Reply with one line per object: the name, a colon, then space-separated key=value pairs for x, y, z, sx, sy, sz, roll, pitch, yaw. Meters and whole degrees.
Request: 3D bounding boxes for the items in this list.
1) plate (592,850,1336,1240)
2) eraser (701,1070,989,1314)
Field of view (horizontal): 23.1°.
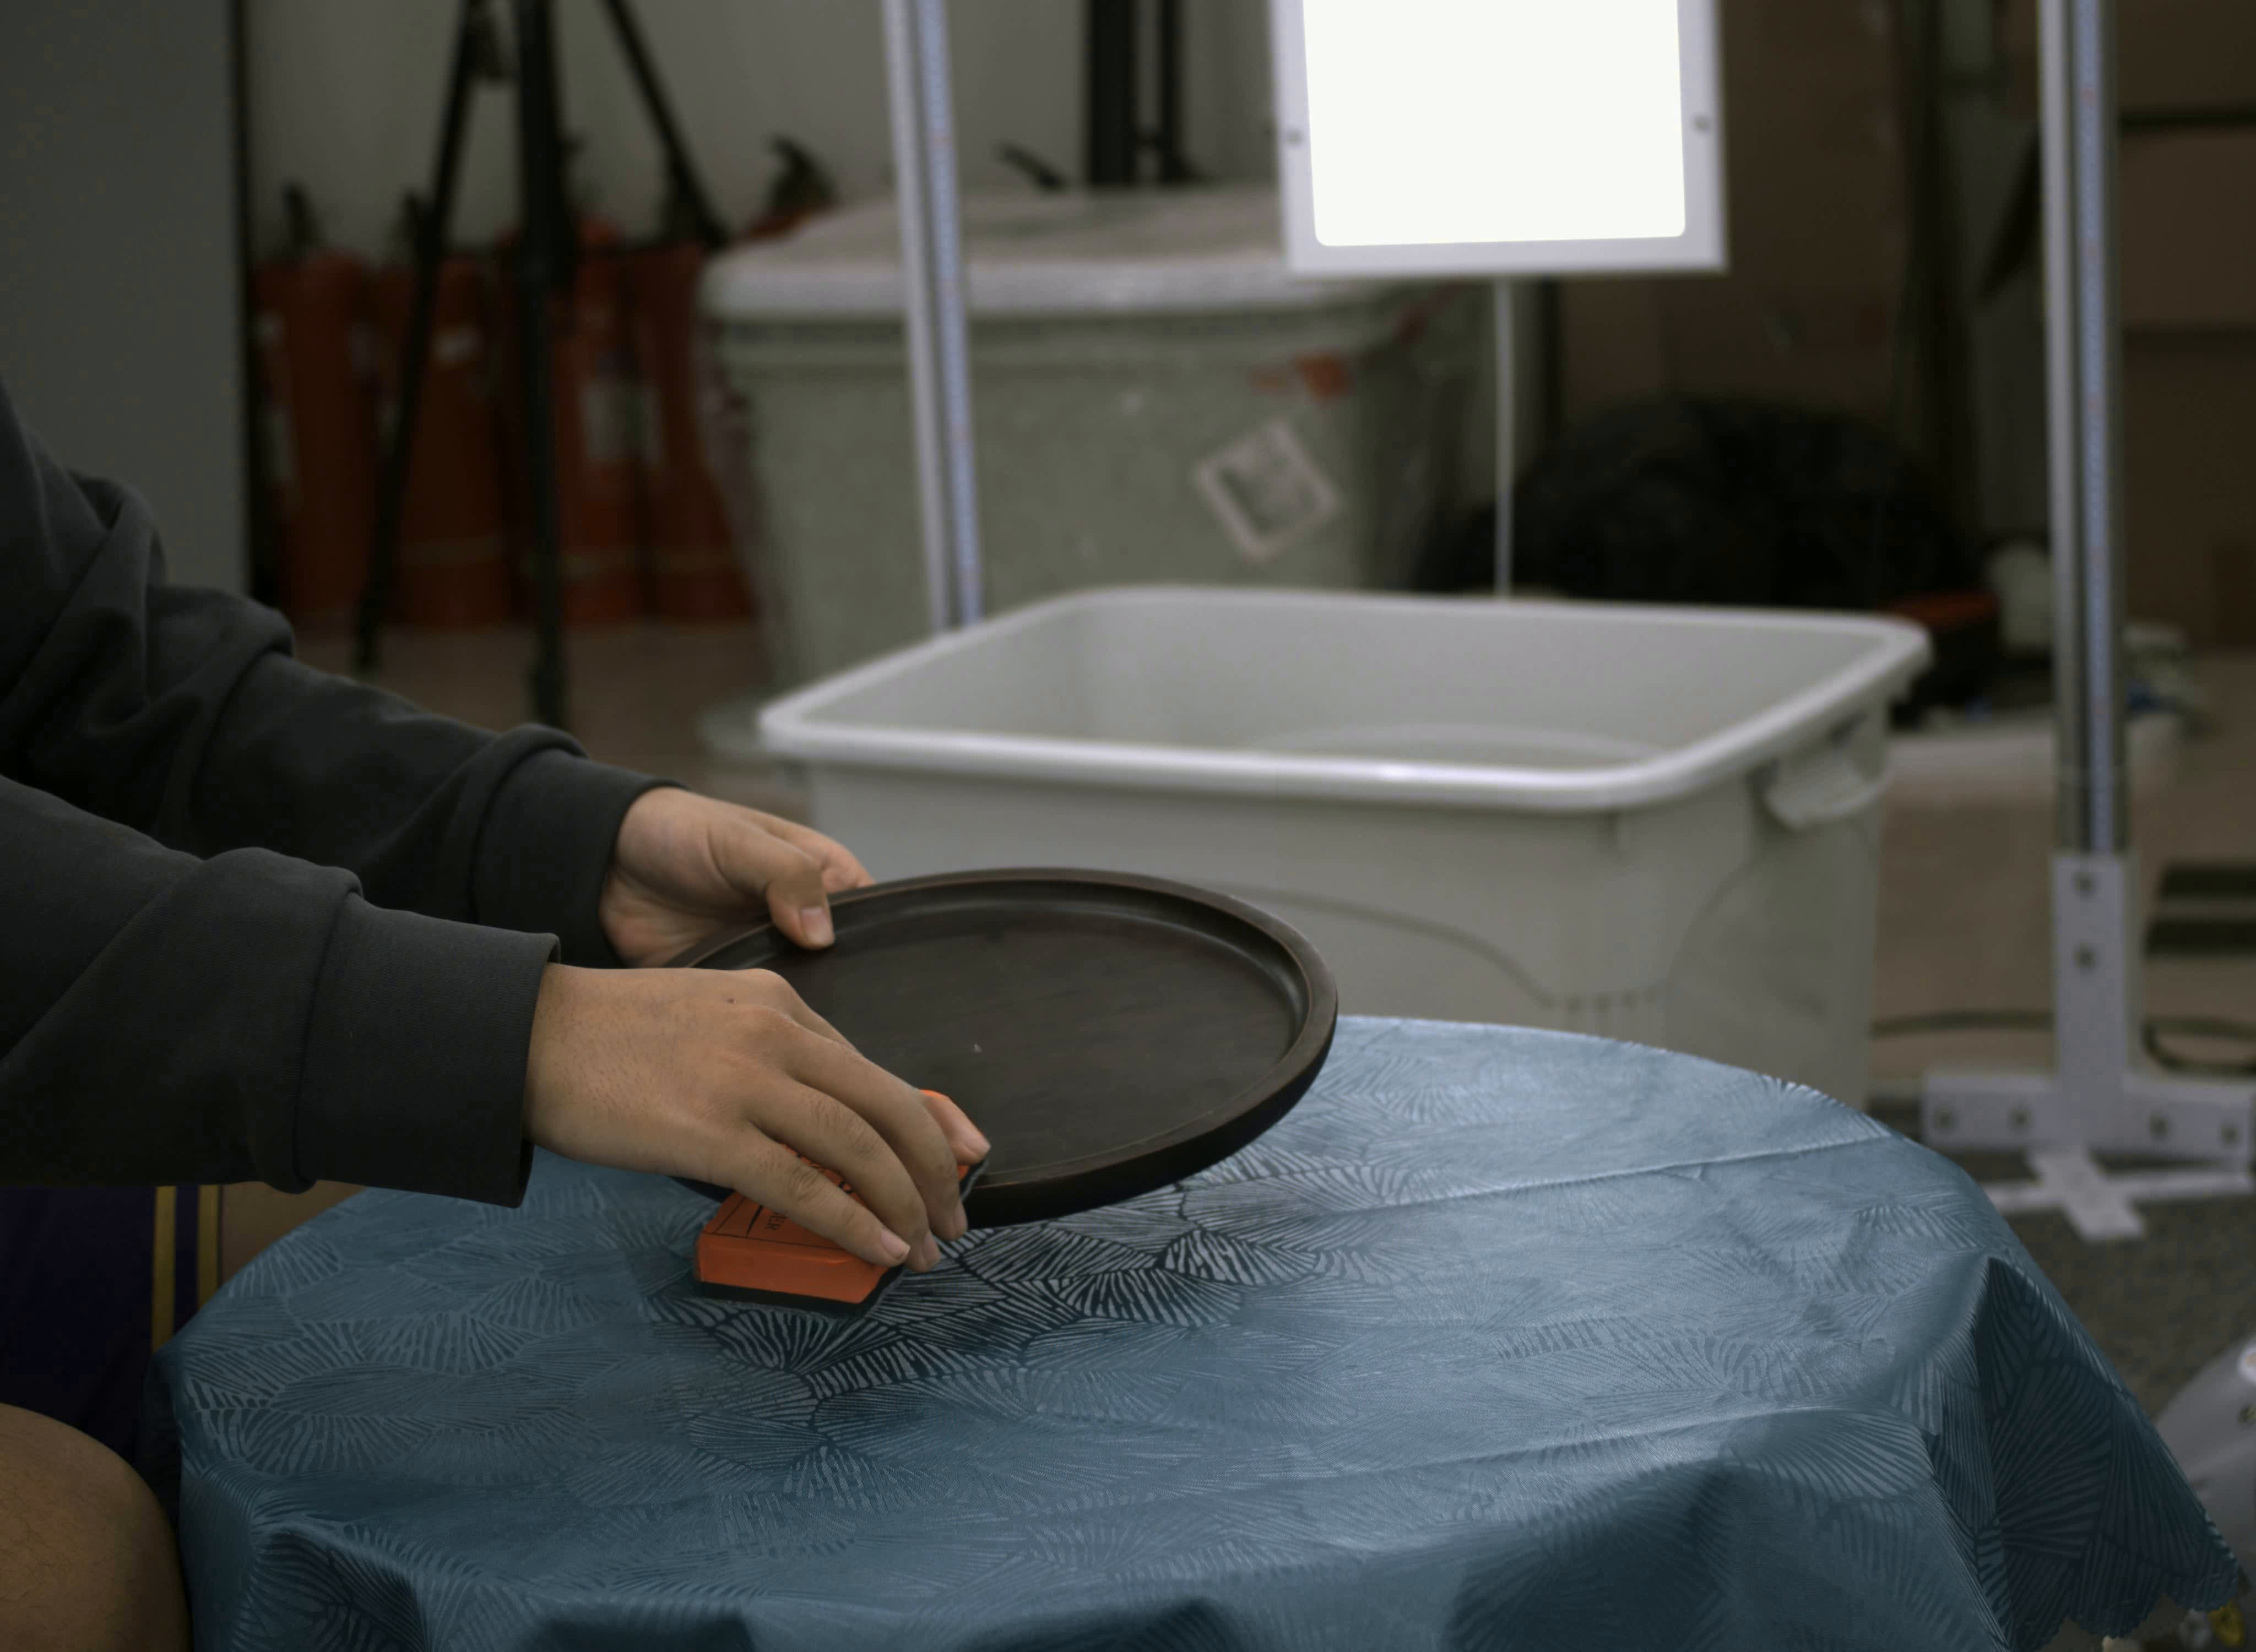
plate: x=-0.055 y=0.074 z=1.862 sx=0.254 sy=0.029 sz=0.254 roll=-7 pitch=25 yaw=2
eraser: x=-0.087 y=0.113 z=1.721 sx=0.060 sy=0.023 sz=0.106 roll=4 pitch=29 yaw=23
